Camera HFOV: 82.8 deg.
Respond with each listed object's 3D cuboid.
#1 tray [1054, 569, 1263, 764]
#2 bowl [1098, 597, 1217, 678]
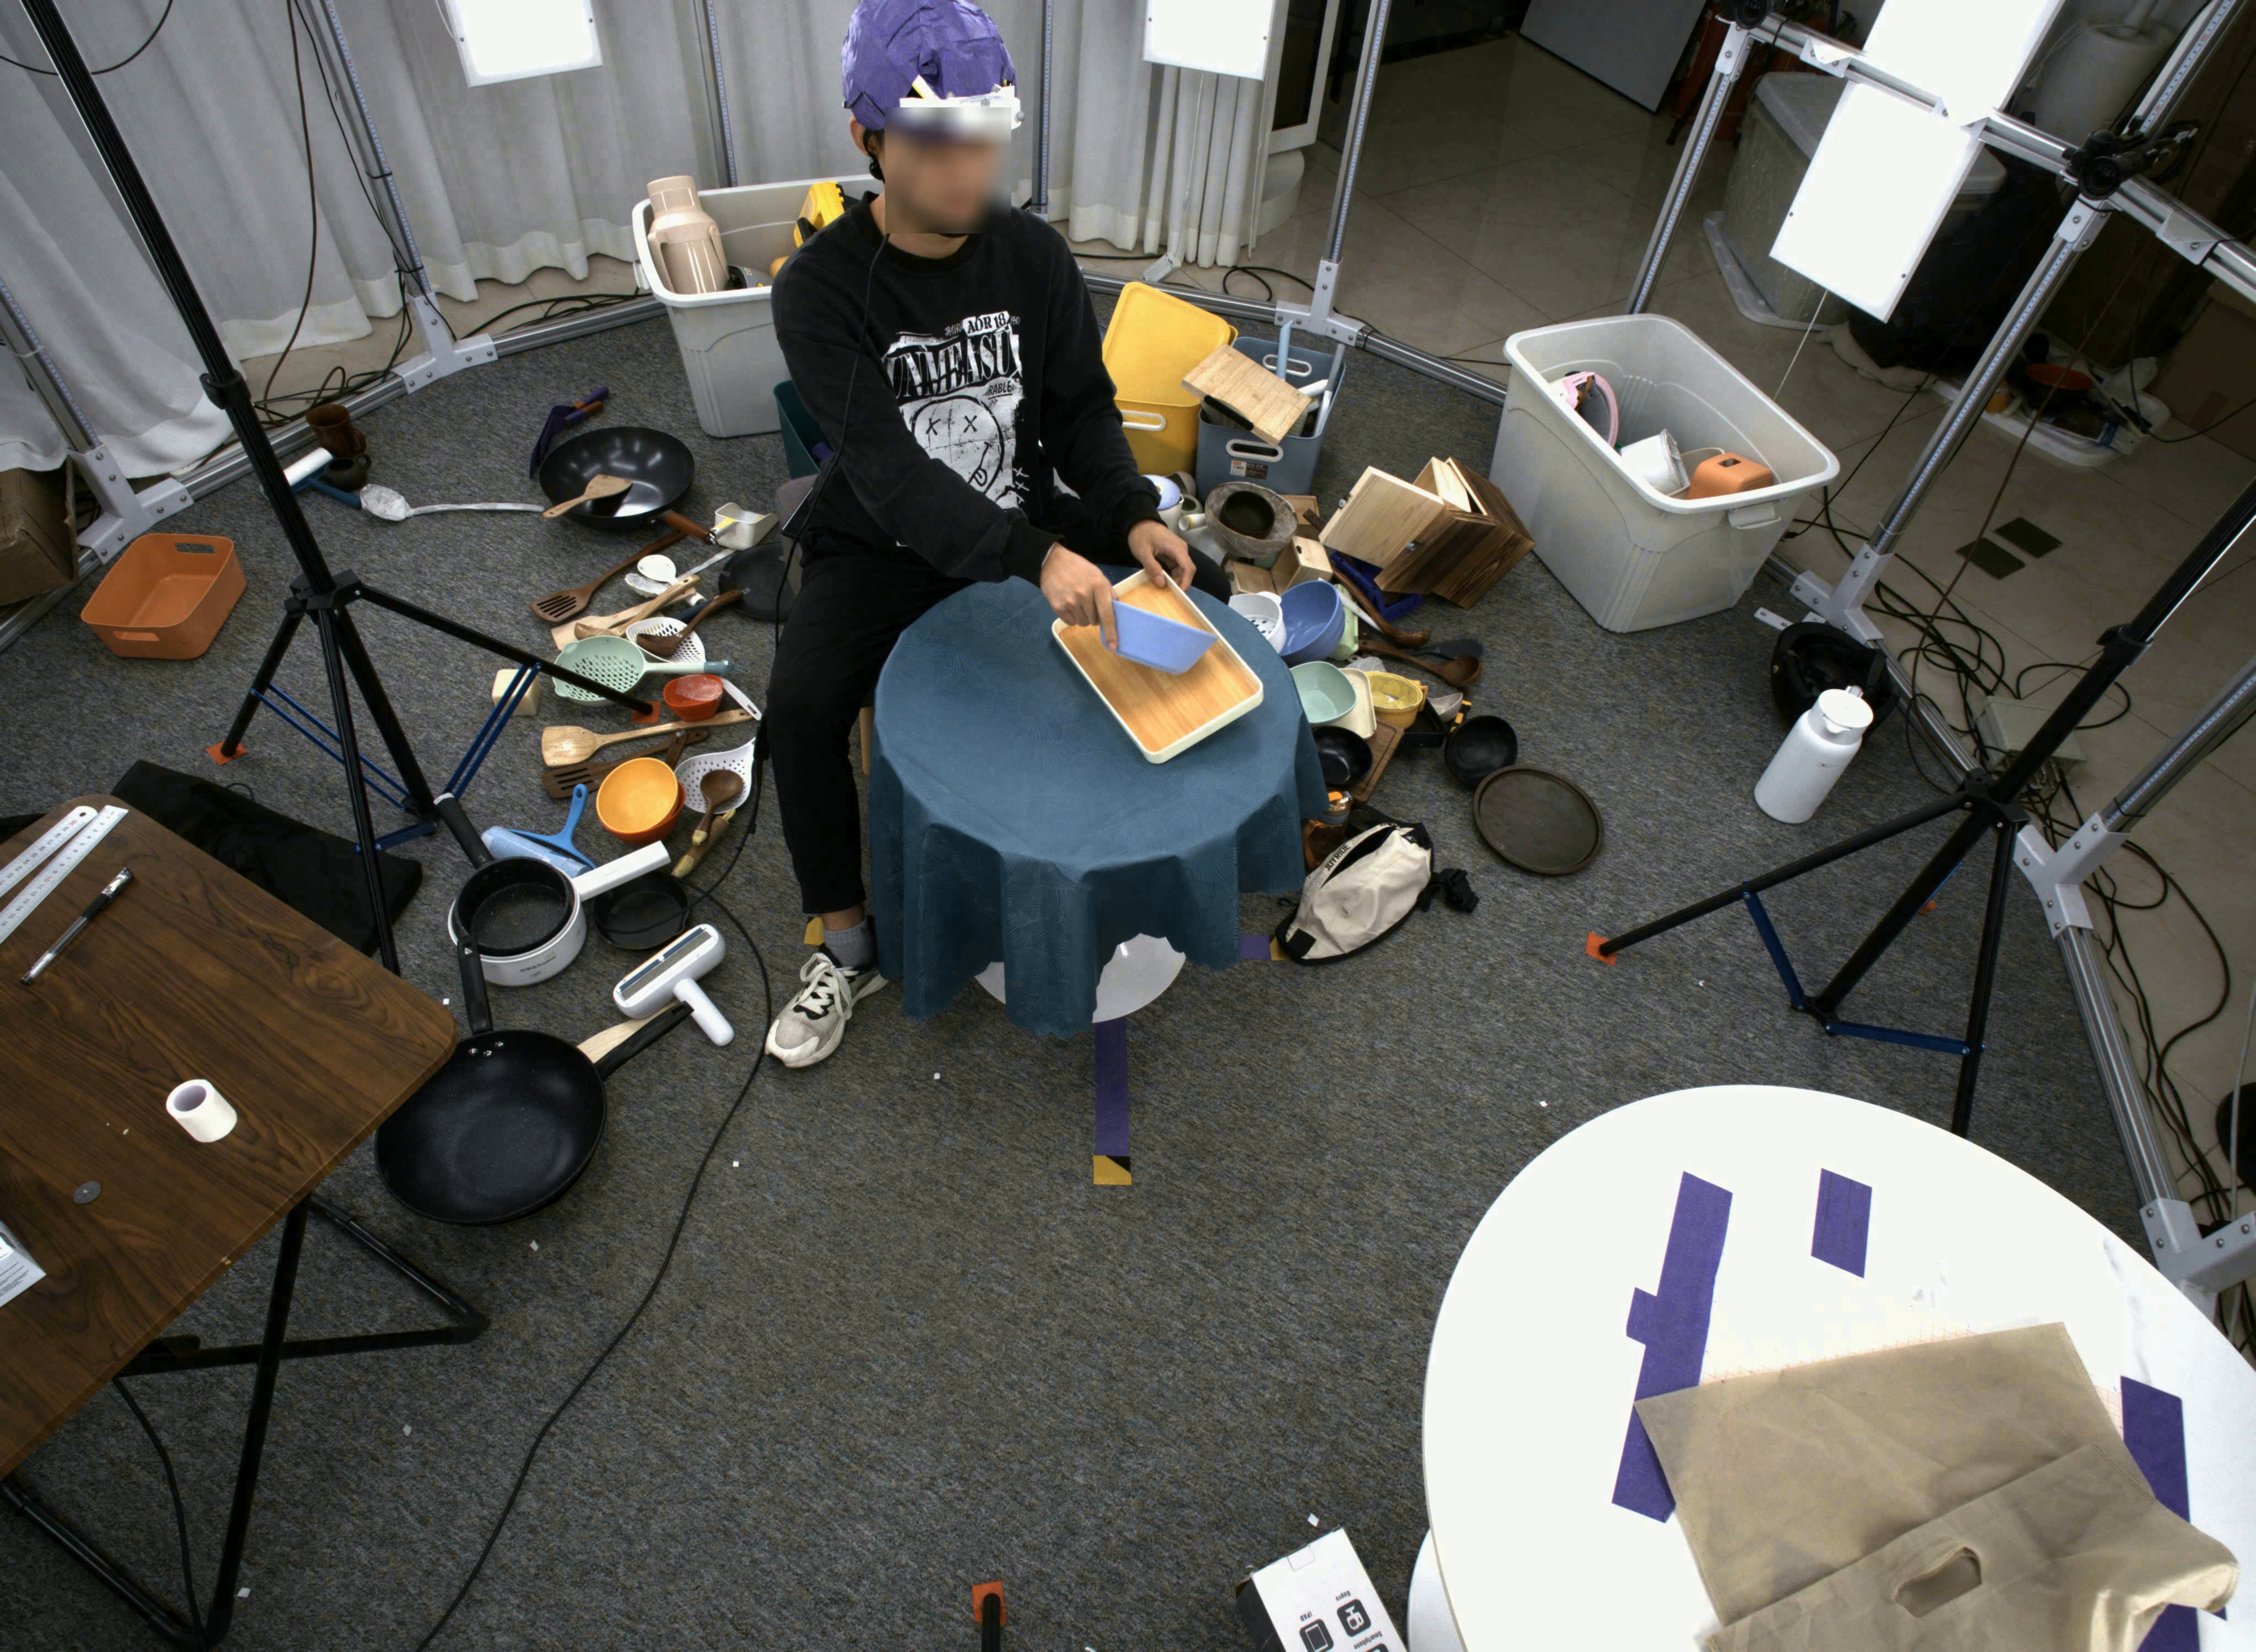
[{"bbox_3d":[0.040,-0.235,1.842,0.192,0.027,0.307,-31,56,-8],"label":"tray"},{"bbox_3d":[0.030,-0.256,1.775,0.176,0.070,0.177,20,8,-3],"label":"bowl"}]
